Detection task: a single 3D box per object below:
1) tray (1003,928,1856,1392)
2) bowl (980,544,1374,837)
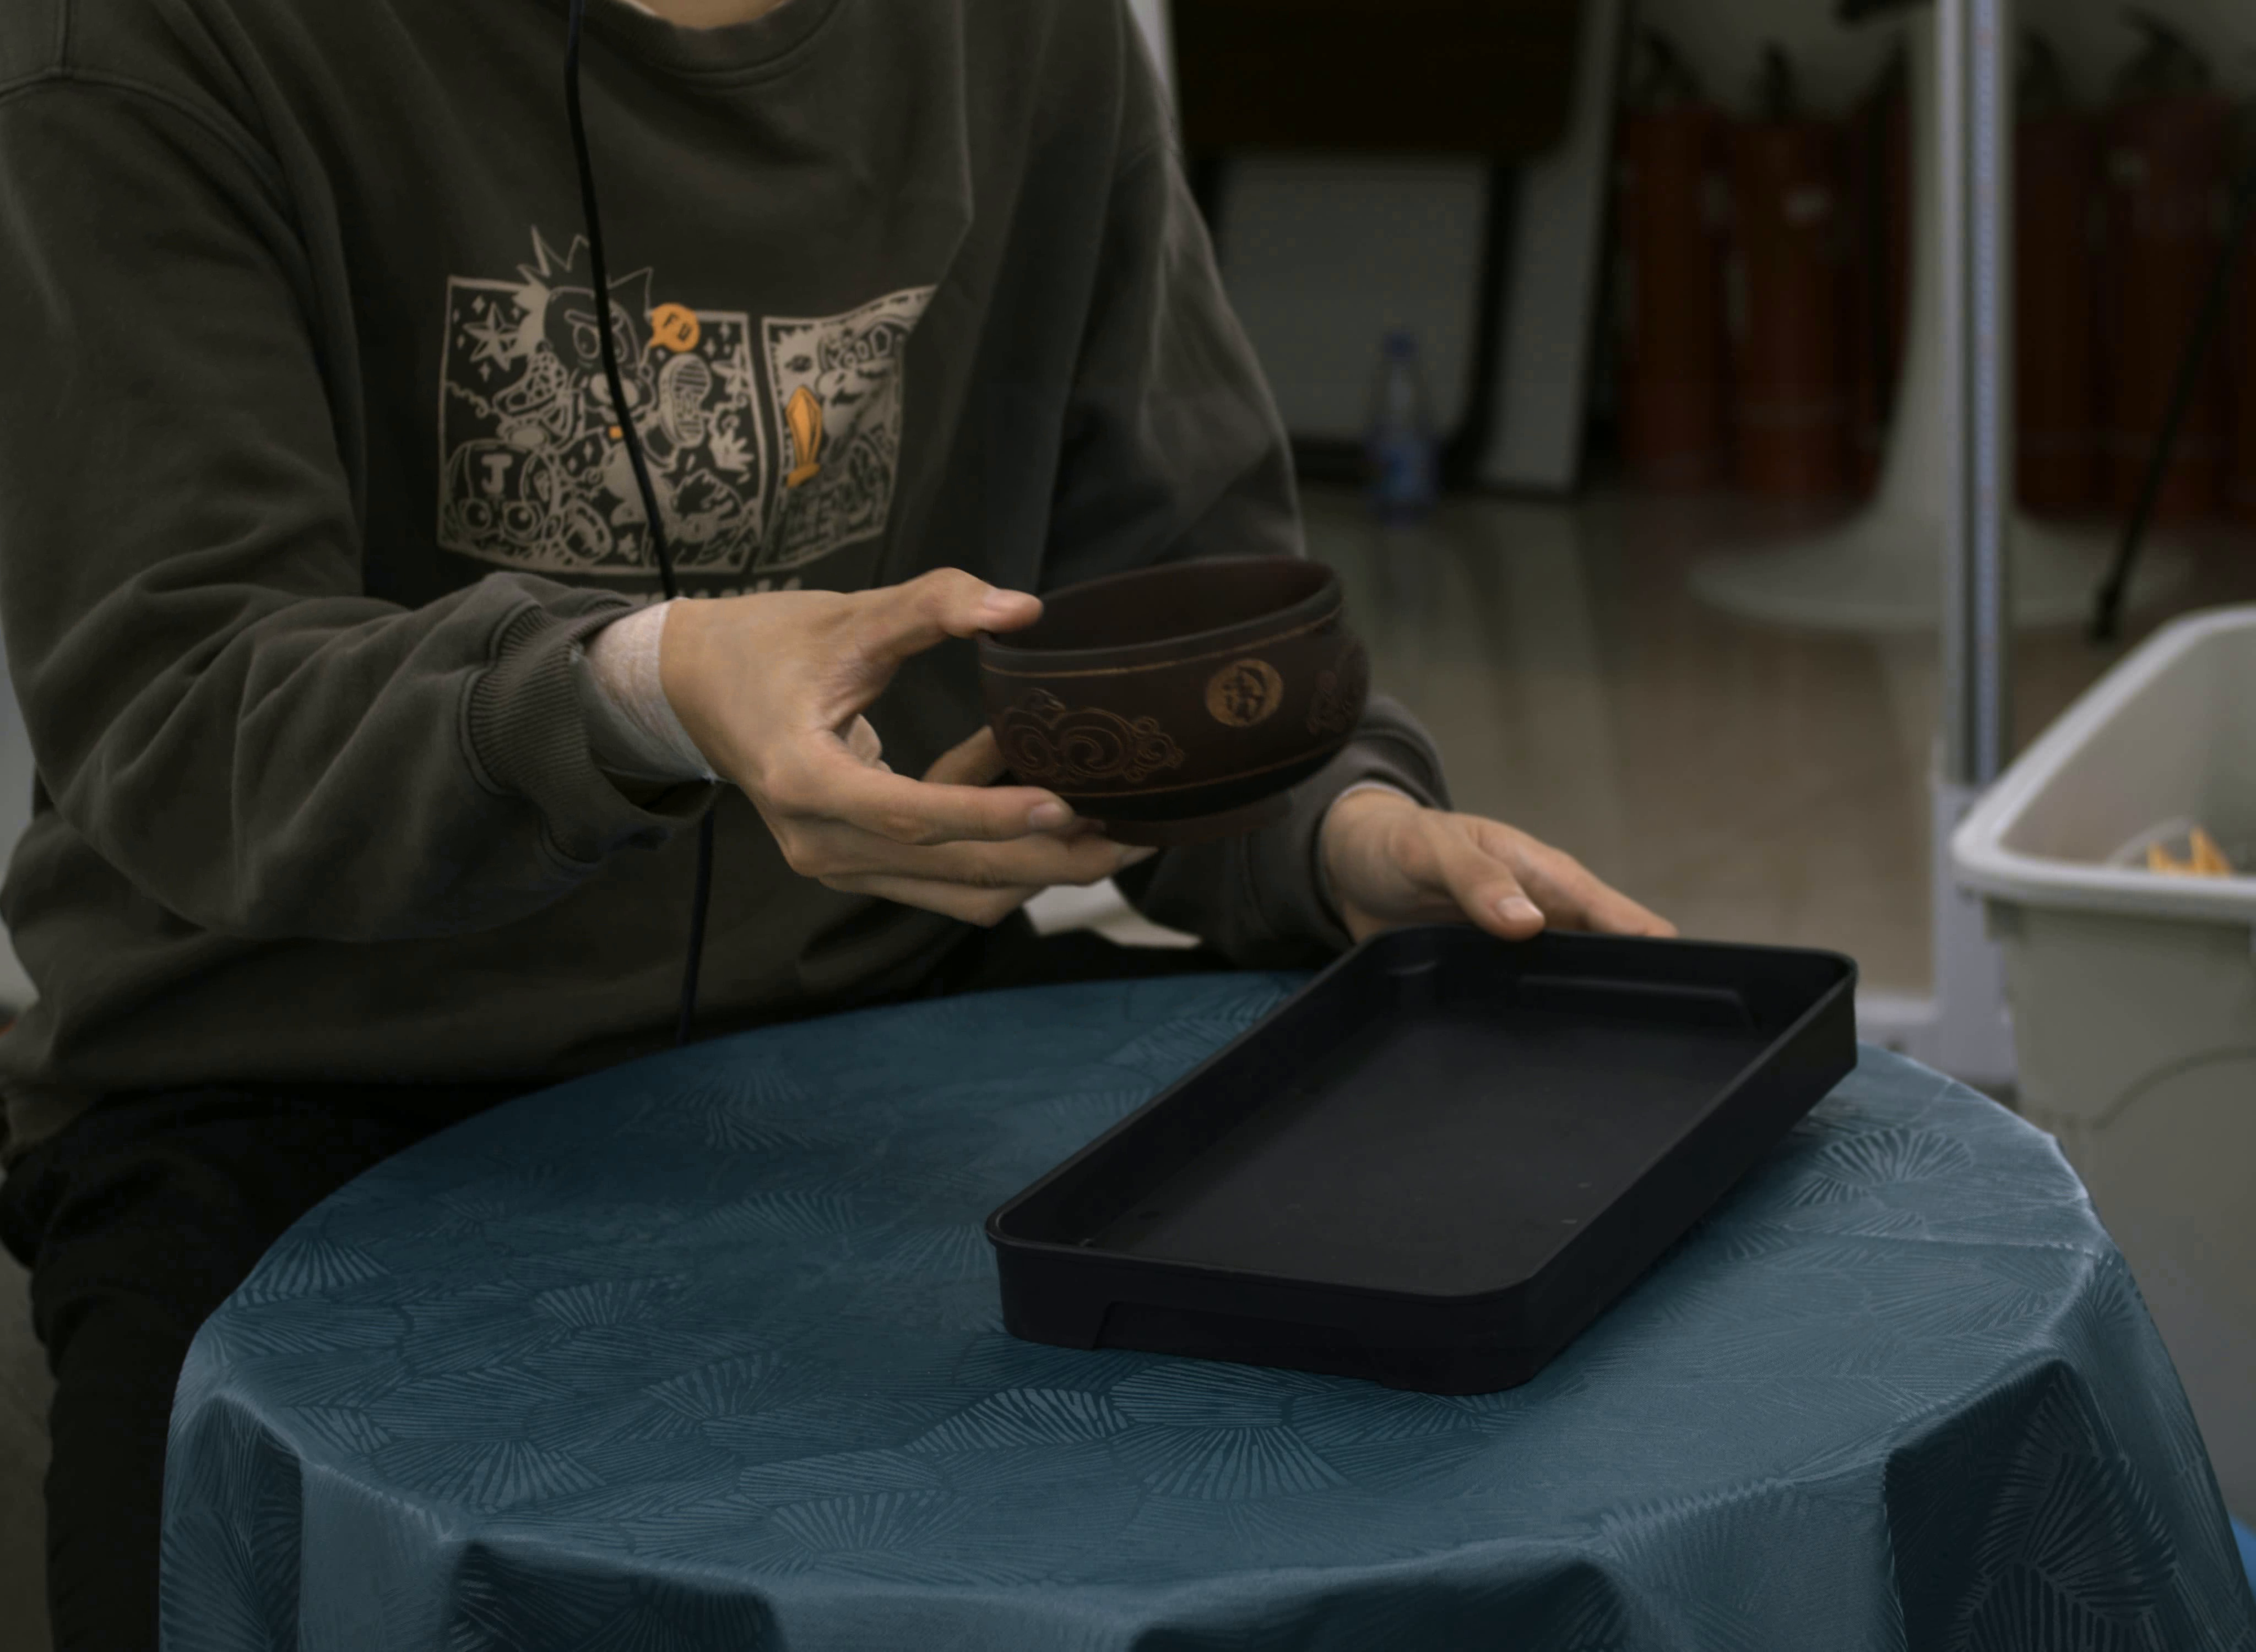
[{"bbox_3d":[0.105,0.100,1.726,0.185,0.037,0.314,2,18,27],"label":"tray"},{"bbox_3d":[0.018,-0.037,1.607,0.116,0.070,0.118,-10,11,1],"label":"bowl"}]
